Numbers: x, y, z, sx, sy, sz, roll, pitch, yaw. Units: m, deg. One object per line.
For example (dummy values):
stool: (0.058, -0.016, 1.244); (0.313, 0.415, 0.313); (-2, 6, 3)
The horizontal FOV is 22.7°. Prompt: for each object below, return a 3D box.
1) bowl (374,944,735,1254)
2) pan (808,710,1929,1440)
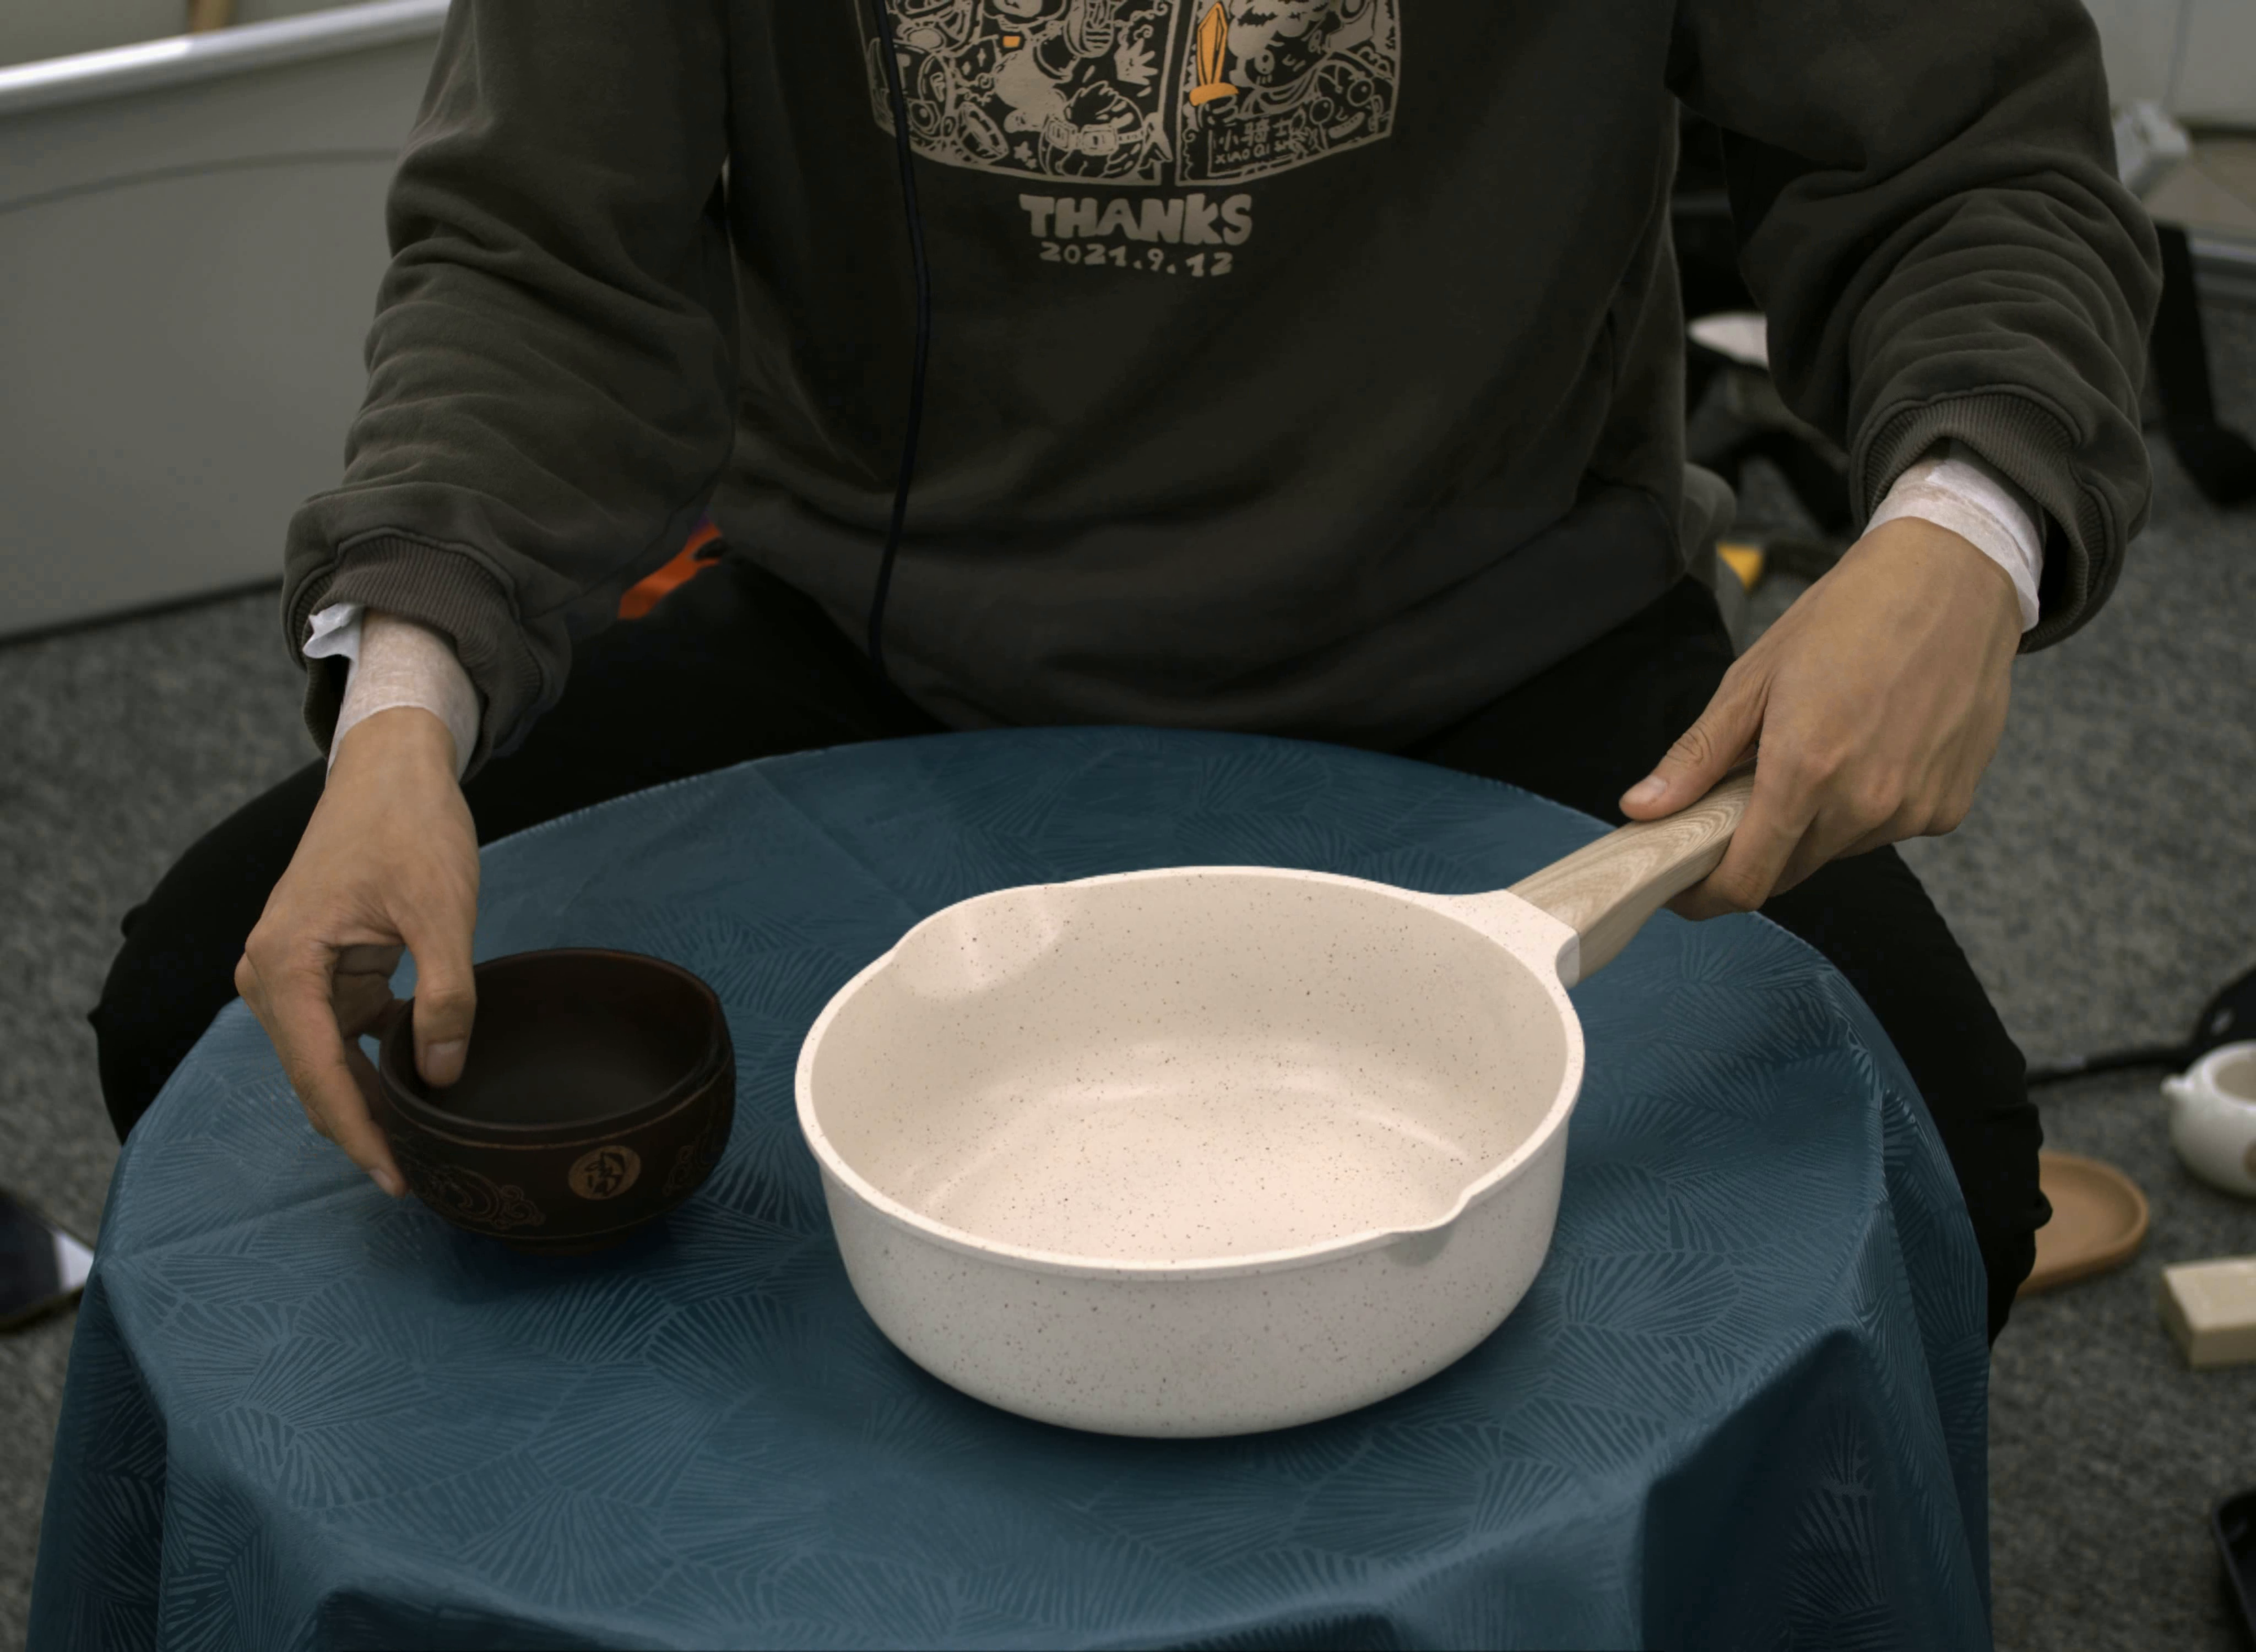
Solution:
bowl: (-0.187, 0.097, 1.848); (0.117, 0.069, 0.120); (-2, 27, 2)
pan: (0.099, 0.074, 1.837); (0.438, 0.101, 0.263); (-21, 30, -31)
